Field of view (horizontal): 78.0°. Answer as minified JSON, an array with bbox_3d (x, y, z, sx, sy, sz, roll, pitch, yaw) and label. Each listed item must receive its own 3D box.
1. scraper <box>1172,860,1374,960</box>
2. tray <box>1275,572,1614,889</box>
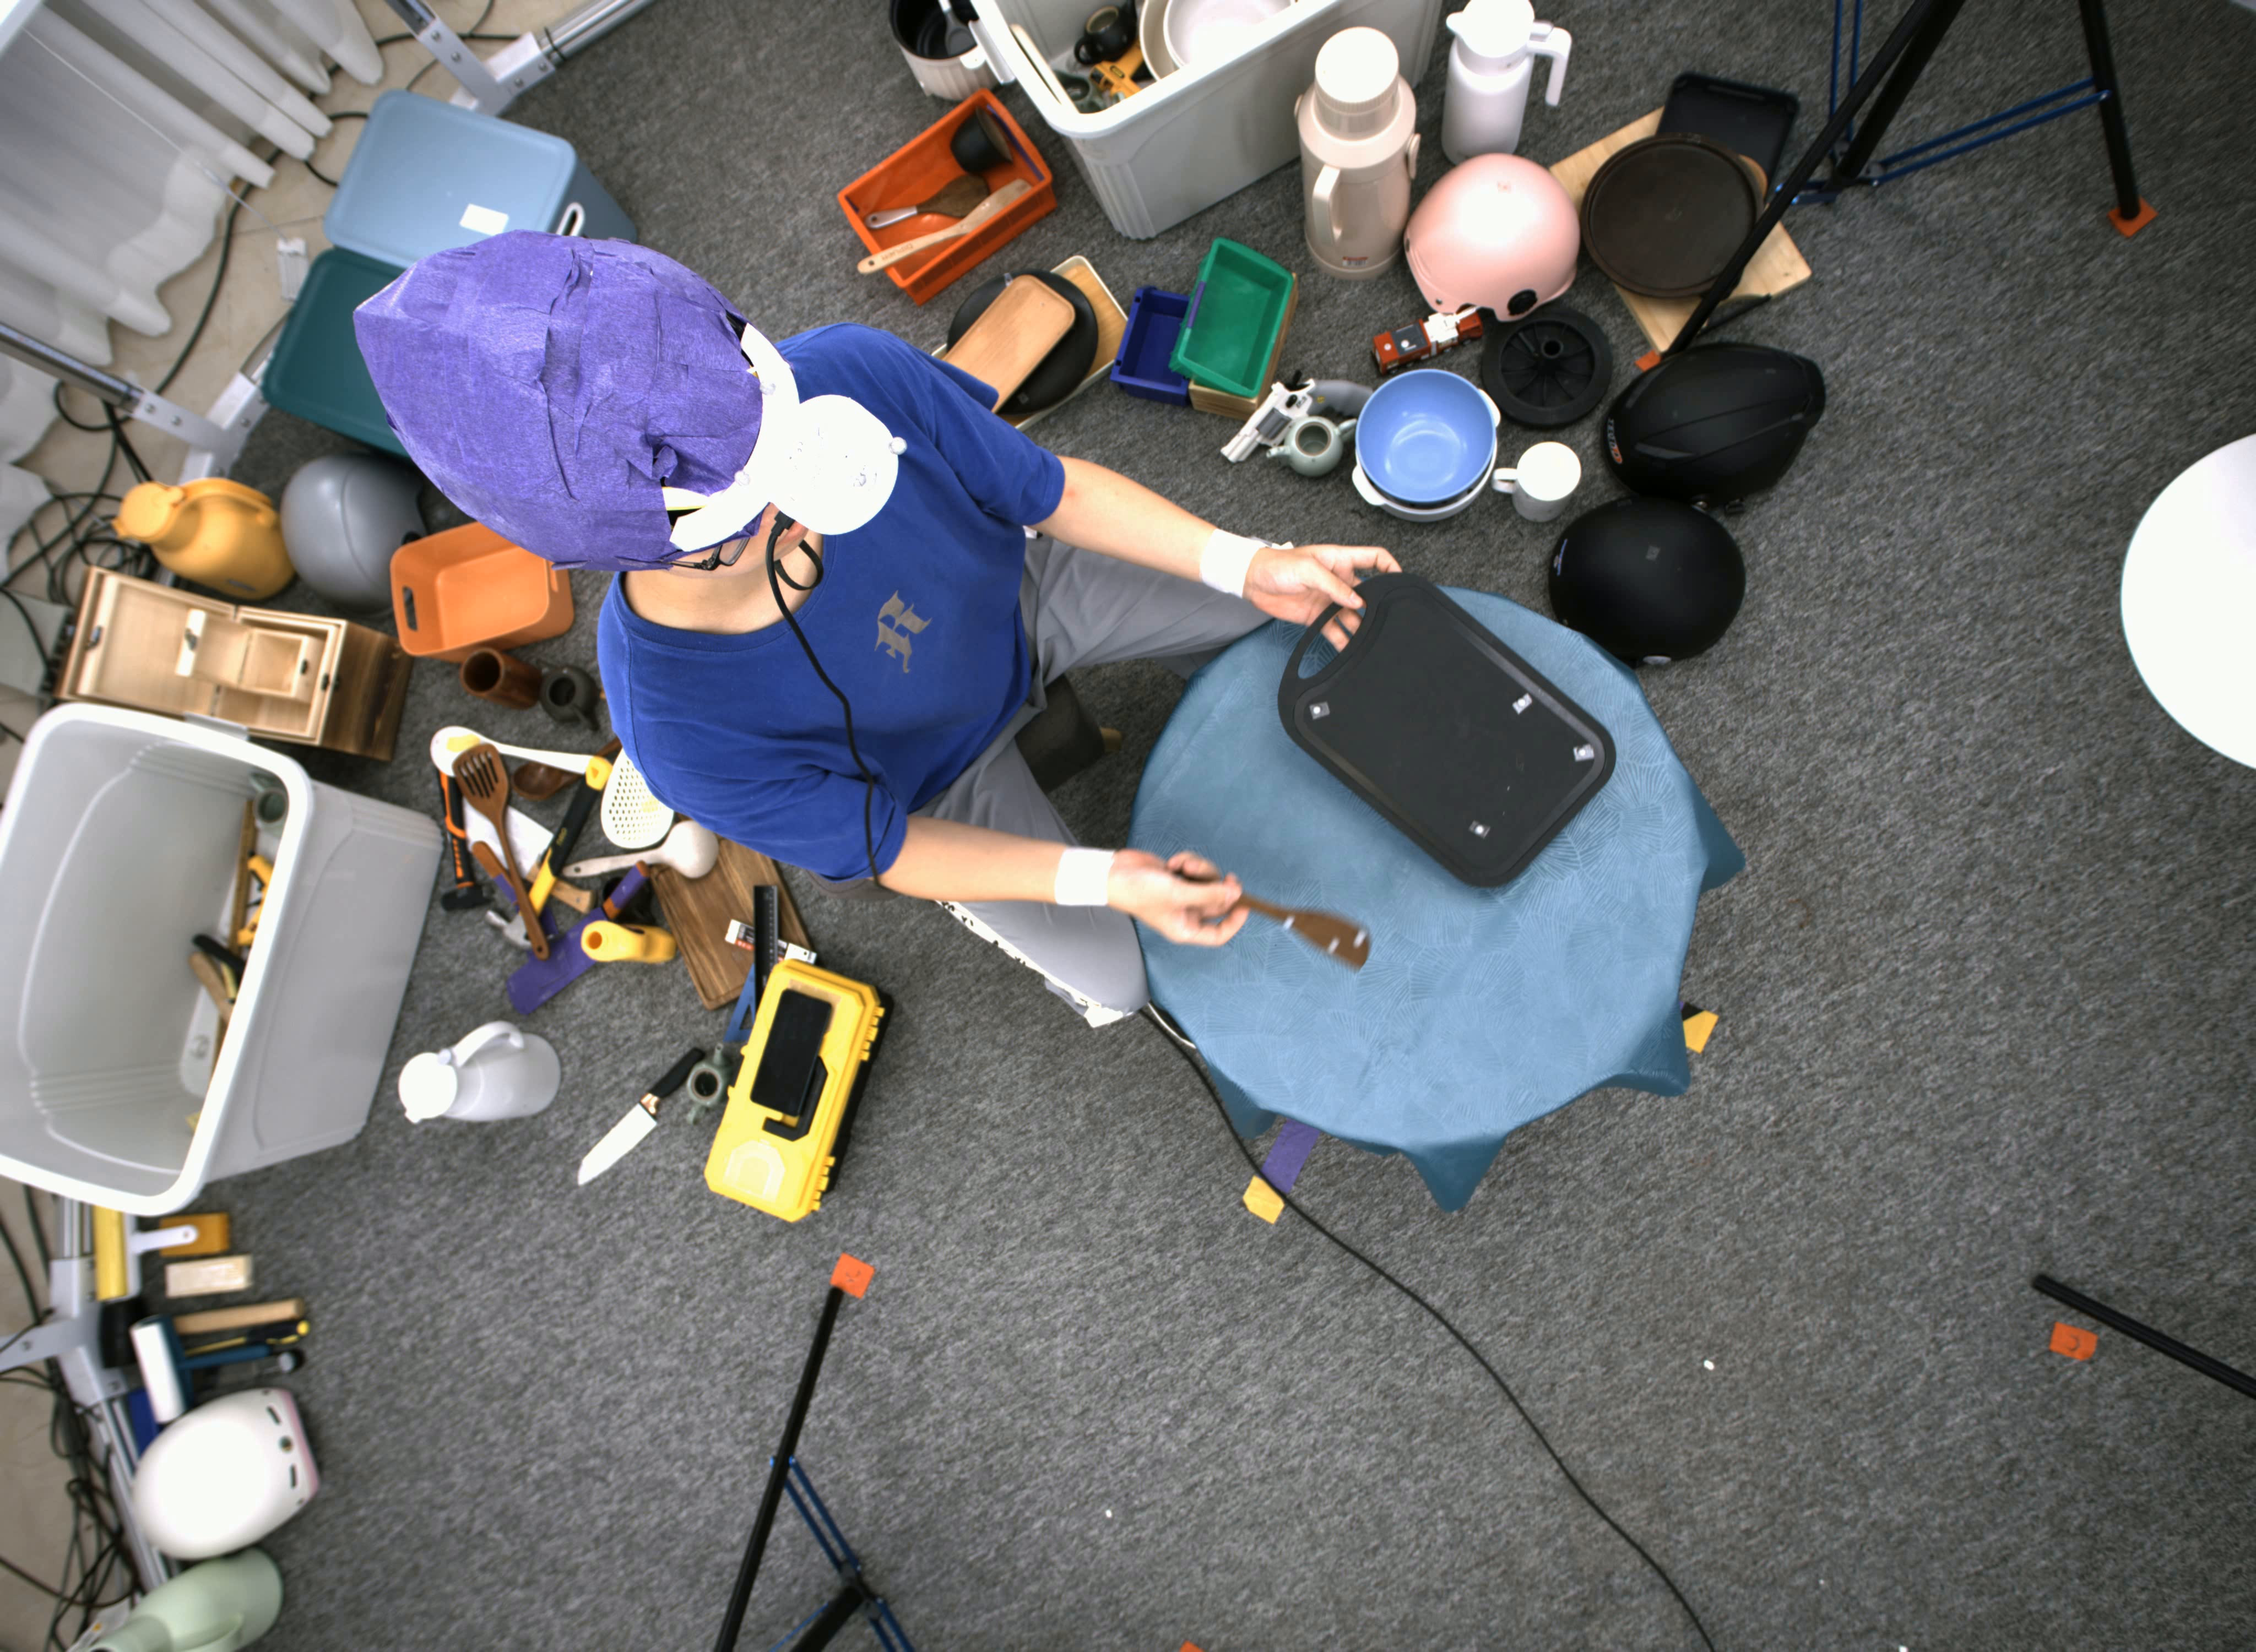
[{"bbox_3d":[0.140,0.075,1.349,0.211,0.077,0.010,20,60,13],"label":"scraper"},{"bbox_3d":[0.305,-0.098,1.365,0.325,0.009,0.215,40,112,-1],"label":"tray"}]
